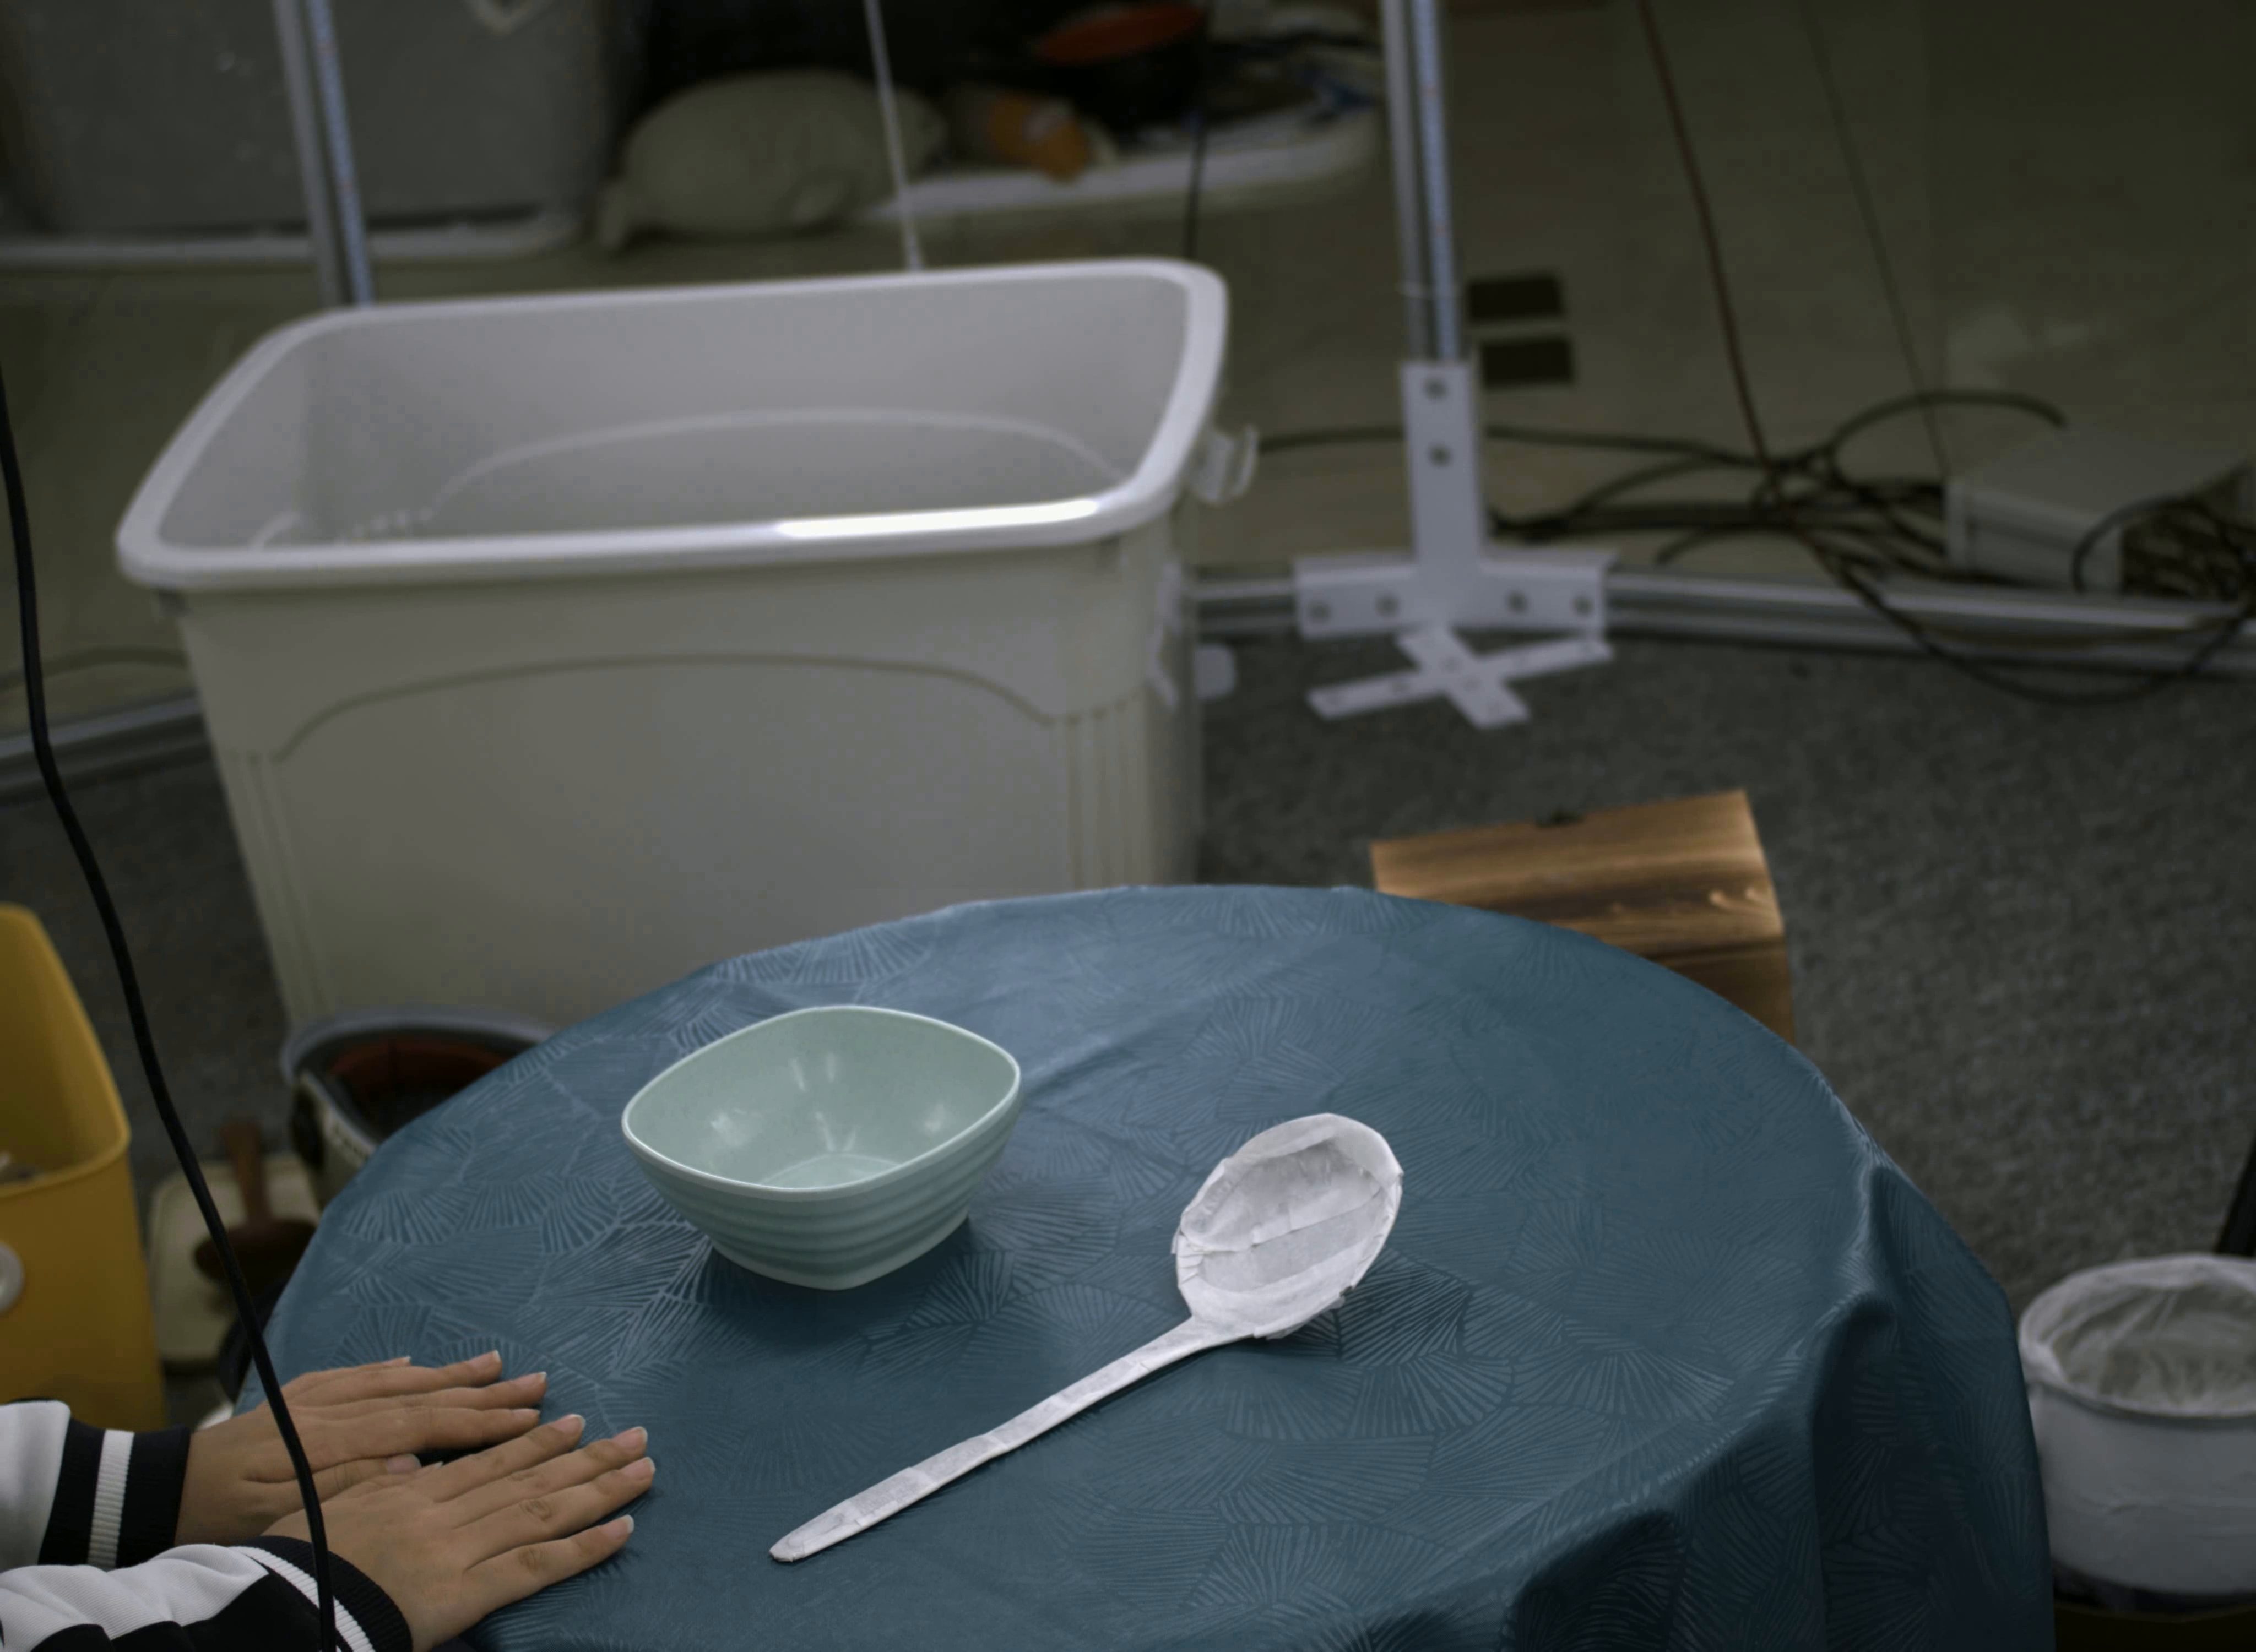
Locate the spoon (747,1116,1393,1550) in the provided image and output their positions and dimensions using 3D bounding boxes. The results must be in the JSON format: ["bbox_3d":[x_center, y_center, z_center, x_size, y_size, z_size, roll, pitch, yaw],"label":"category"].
[{"bbox_3d":[-0.025,0.176,2.005,0.275,0.060,0.100,-22,25,-30],"label":"spoon"}]

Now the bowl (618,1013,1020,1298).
[{"bbox_3d":[-0.113,0.129,2.134,0.151,0.059,0.149,-5,25,2],"label":"bowl"}]
